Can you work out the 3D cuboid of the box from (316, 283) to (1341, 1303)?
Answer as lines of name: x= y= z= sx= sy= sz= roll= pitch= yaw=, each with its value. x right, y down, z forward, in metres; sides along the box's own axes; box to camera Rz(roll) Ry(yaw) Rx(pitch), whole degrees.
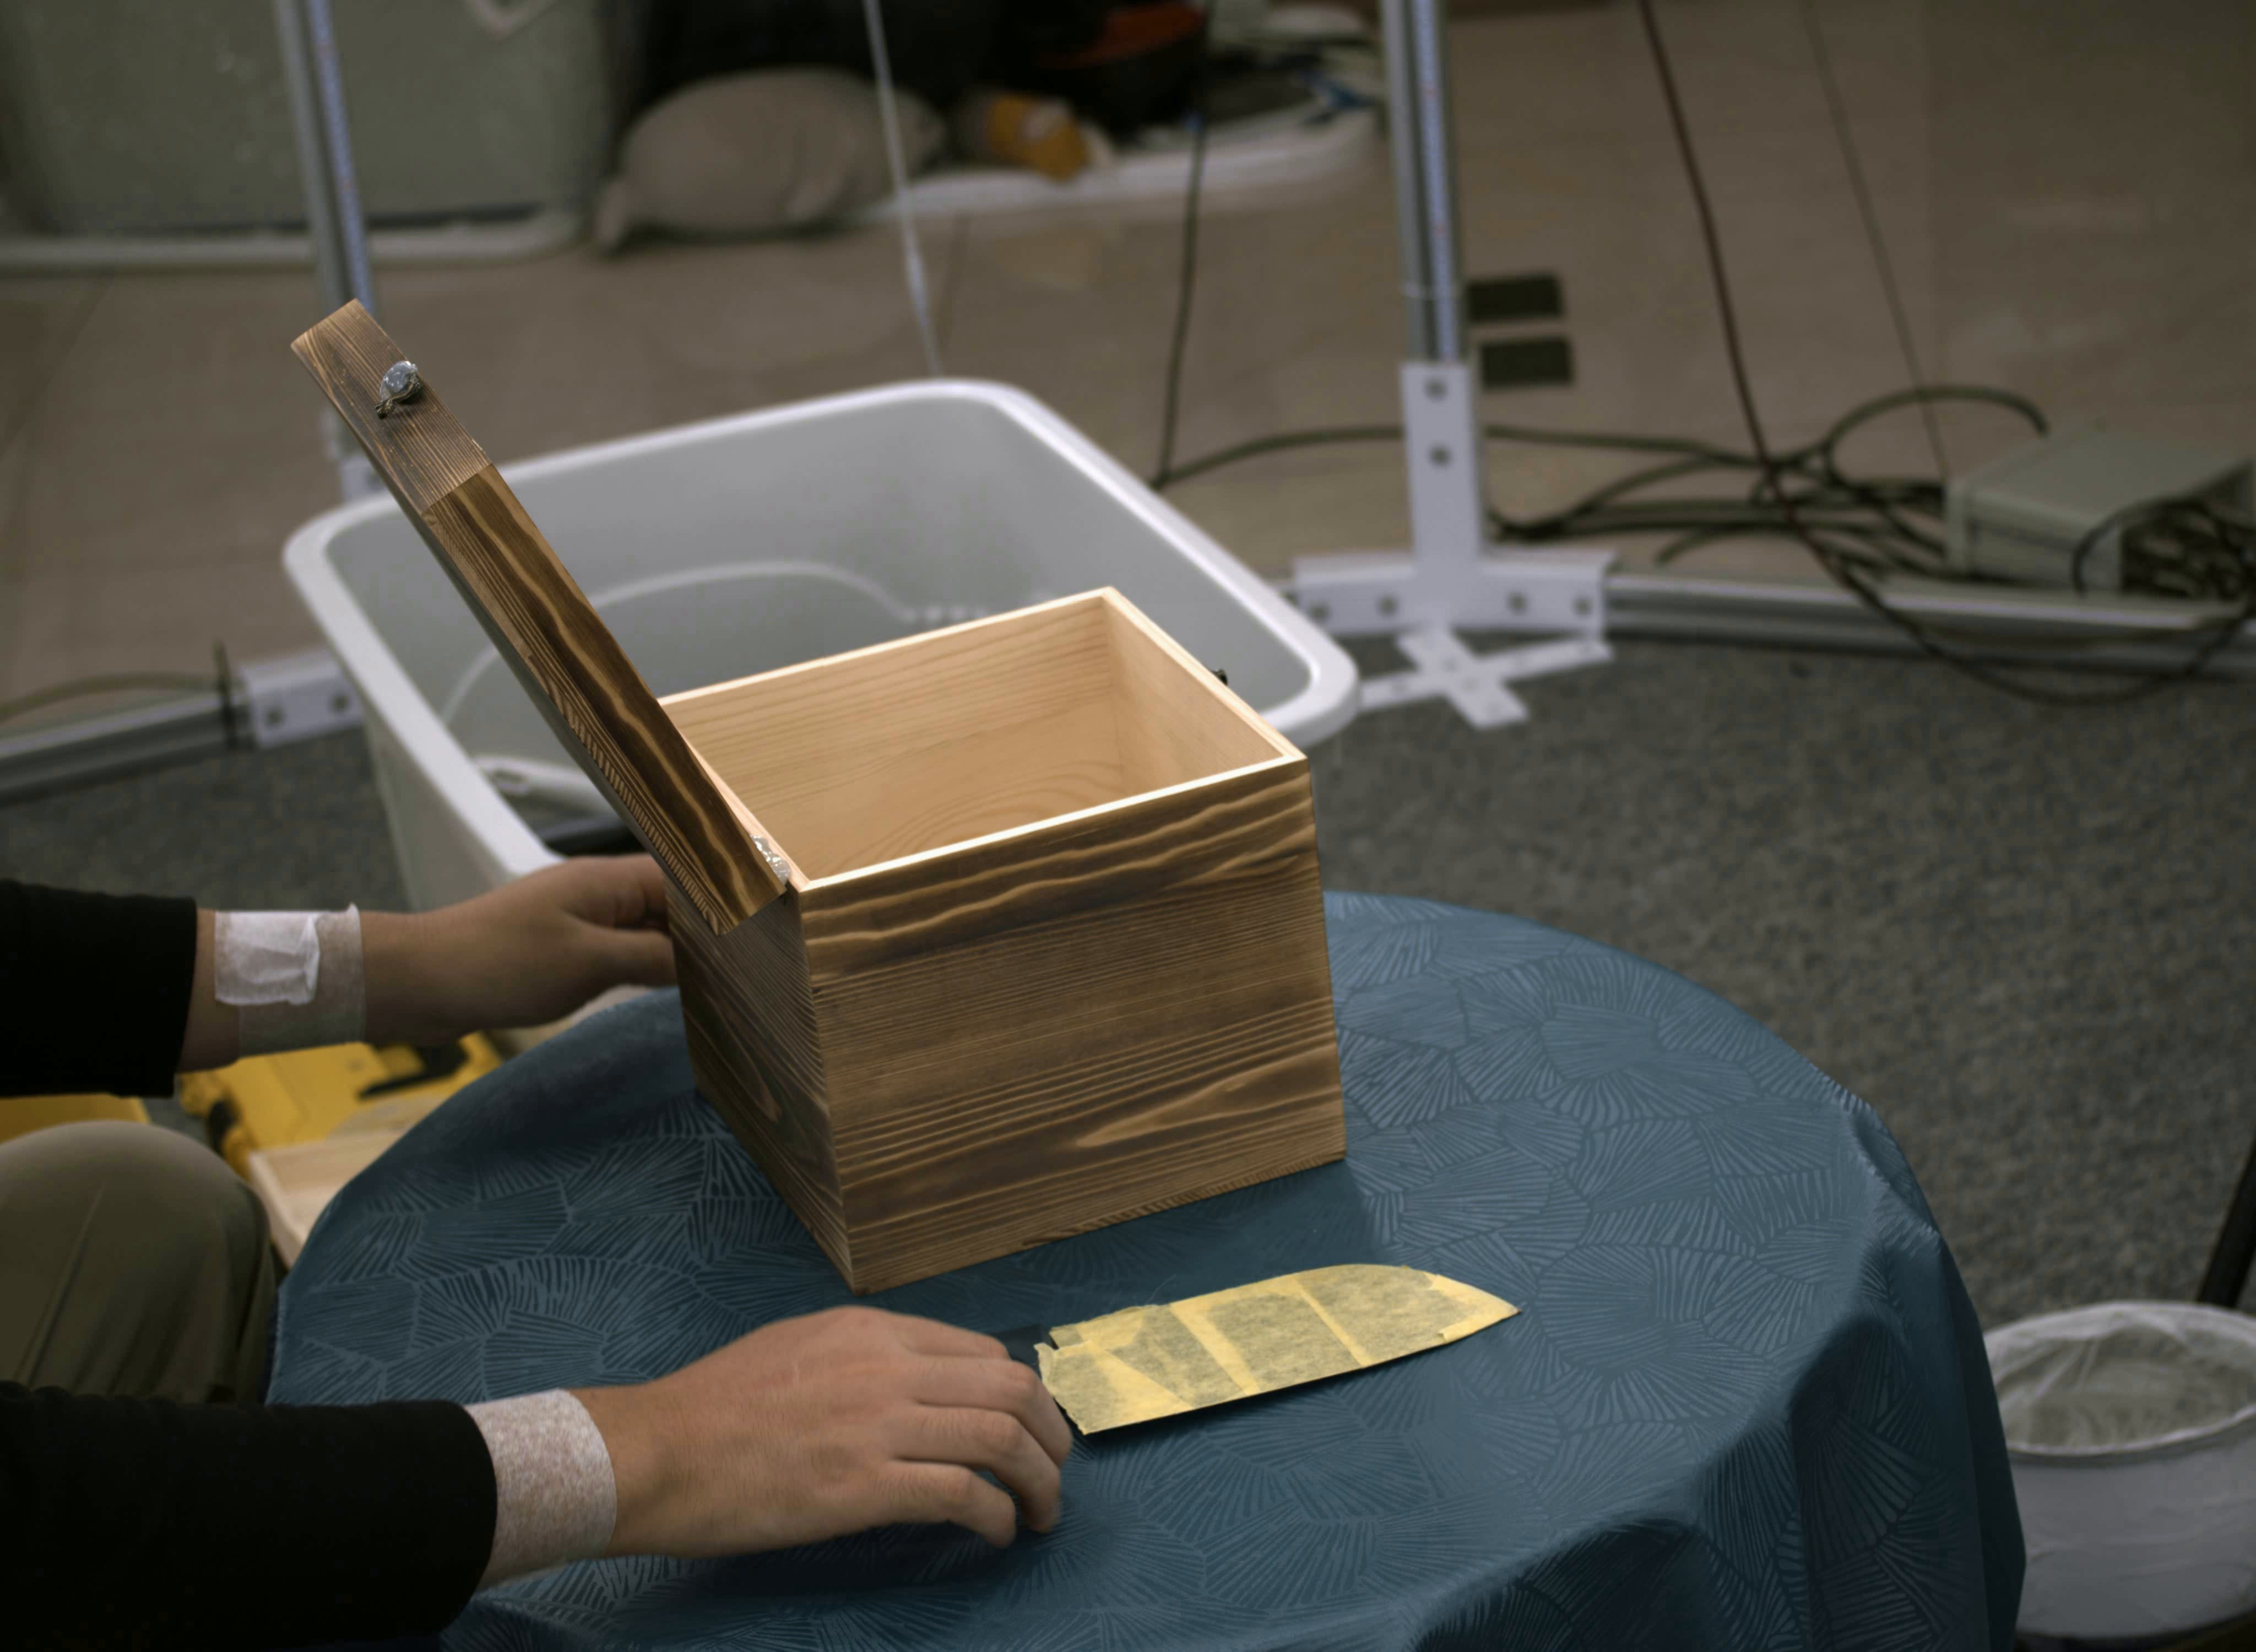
box: x=-0.110 y=-0.033 z=2.112 sx=0.321 sy=0.382 sz=0.206 roll=-16 pitch=28 yaw=-17

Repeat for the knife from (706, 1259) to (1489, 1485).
knife: x=-0.007 y=0.194 z=2.015 sx=0.288 sy=0.027 sz=0.080 roll=-12 pitch=24 yaw=-14
